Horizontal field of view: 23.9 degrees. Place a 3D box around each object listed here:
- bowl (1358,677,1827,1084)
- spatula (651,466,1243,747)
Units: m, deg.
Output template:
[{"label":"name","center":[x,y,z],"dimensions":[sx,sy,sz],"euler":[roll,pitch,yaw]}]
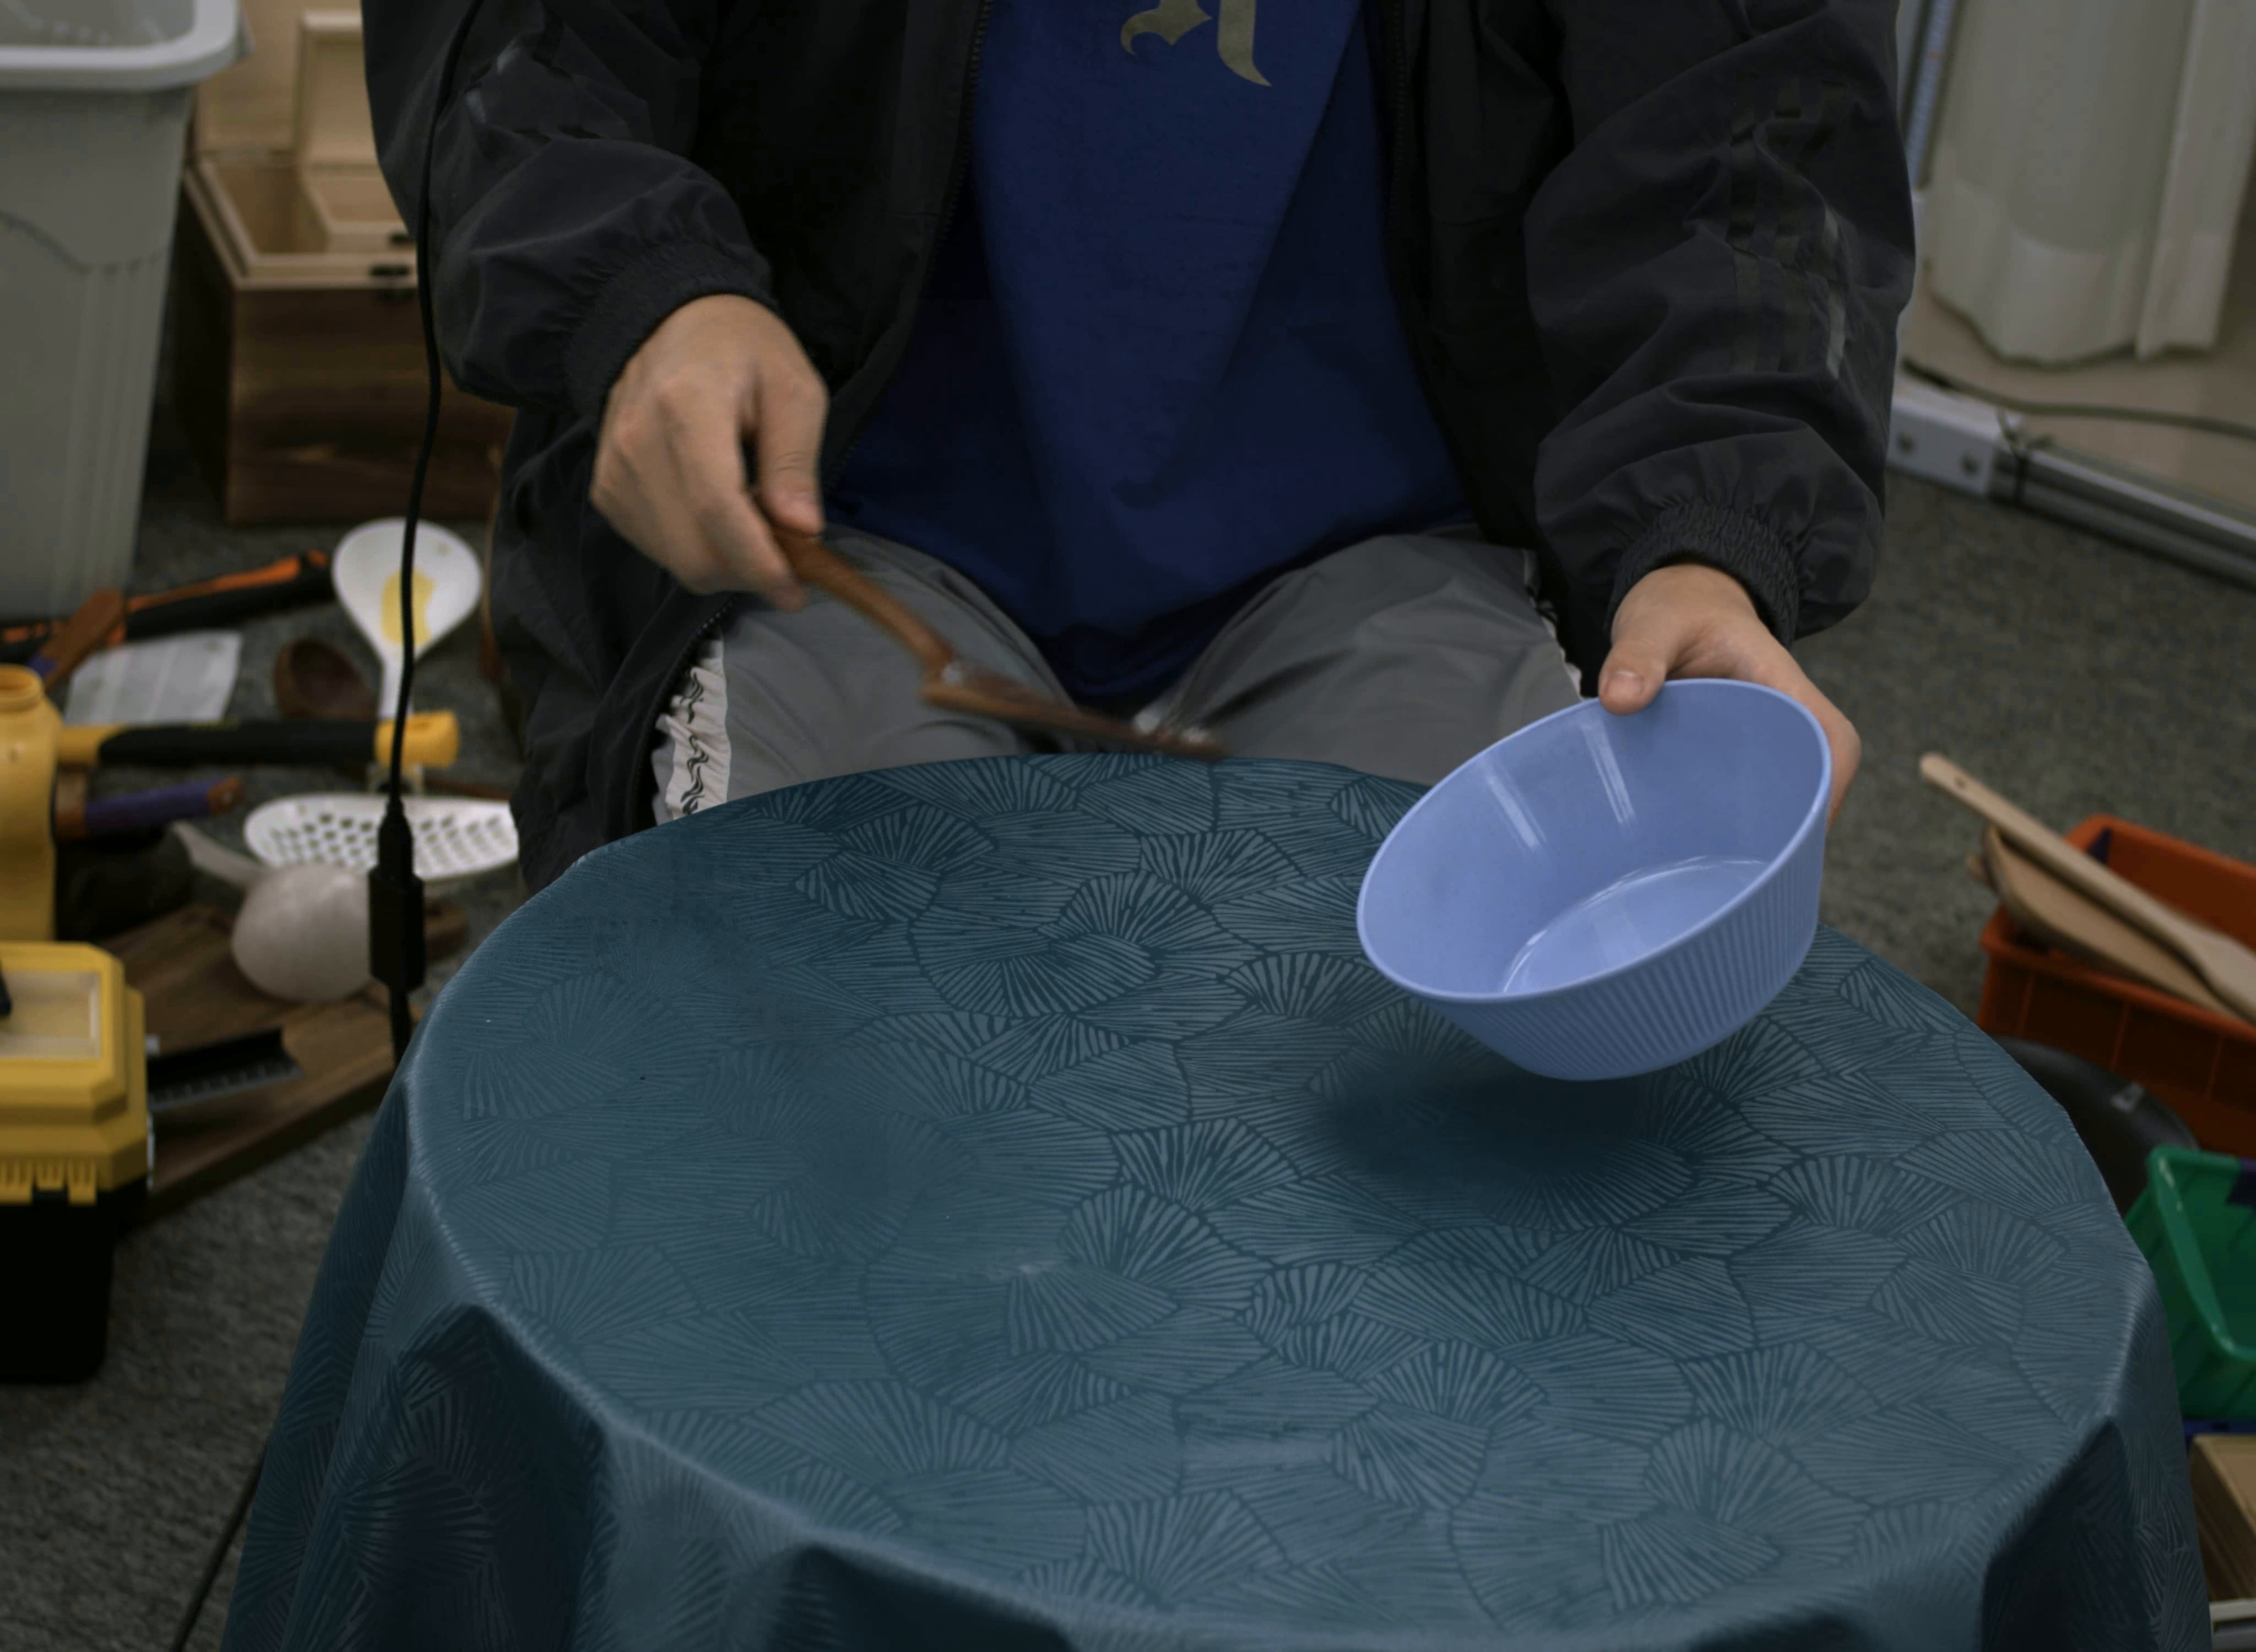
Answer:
[{"label":"bowl","center":[0.172,0.028,1.853],"dimensions":[0.176,0.070,0.177],"euler":[-22,29,13]},{"label":"spatula","center":[-0.084,-0.078,1.875],"dimensions":[0.085,0.024,0.390],"euler":[11,11,-32]}]
